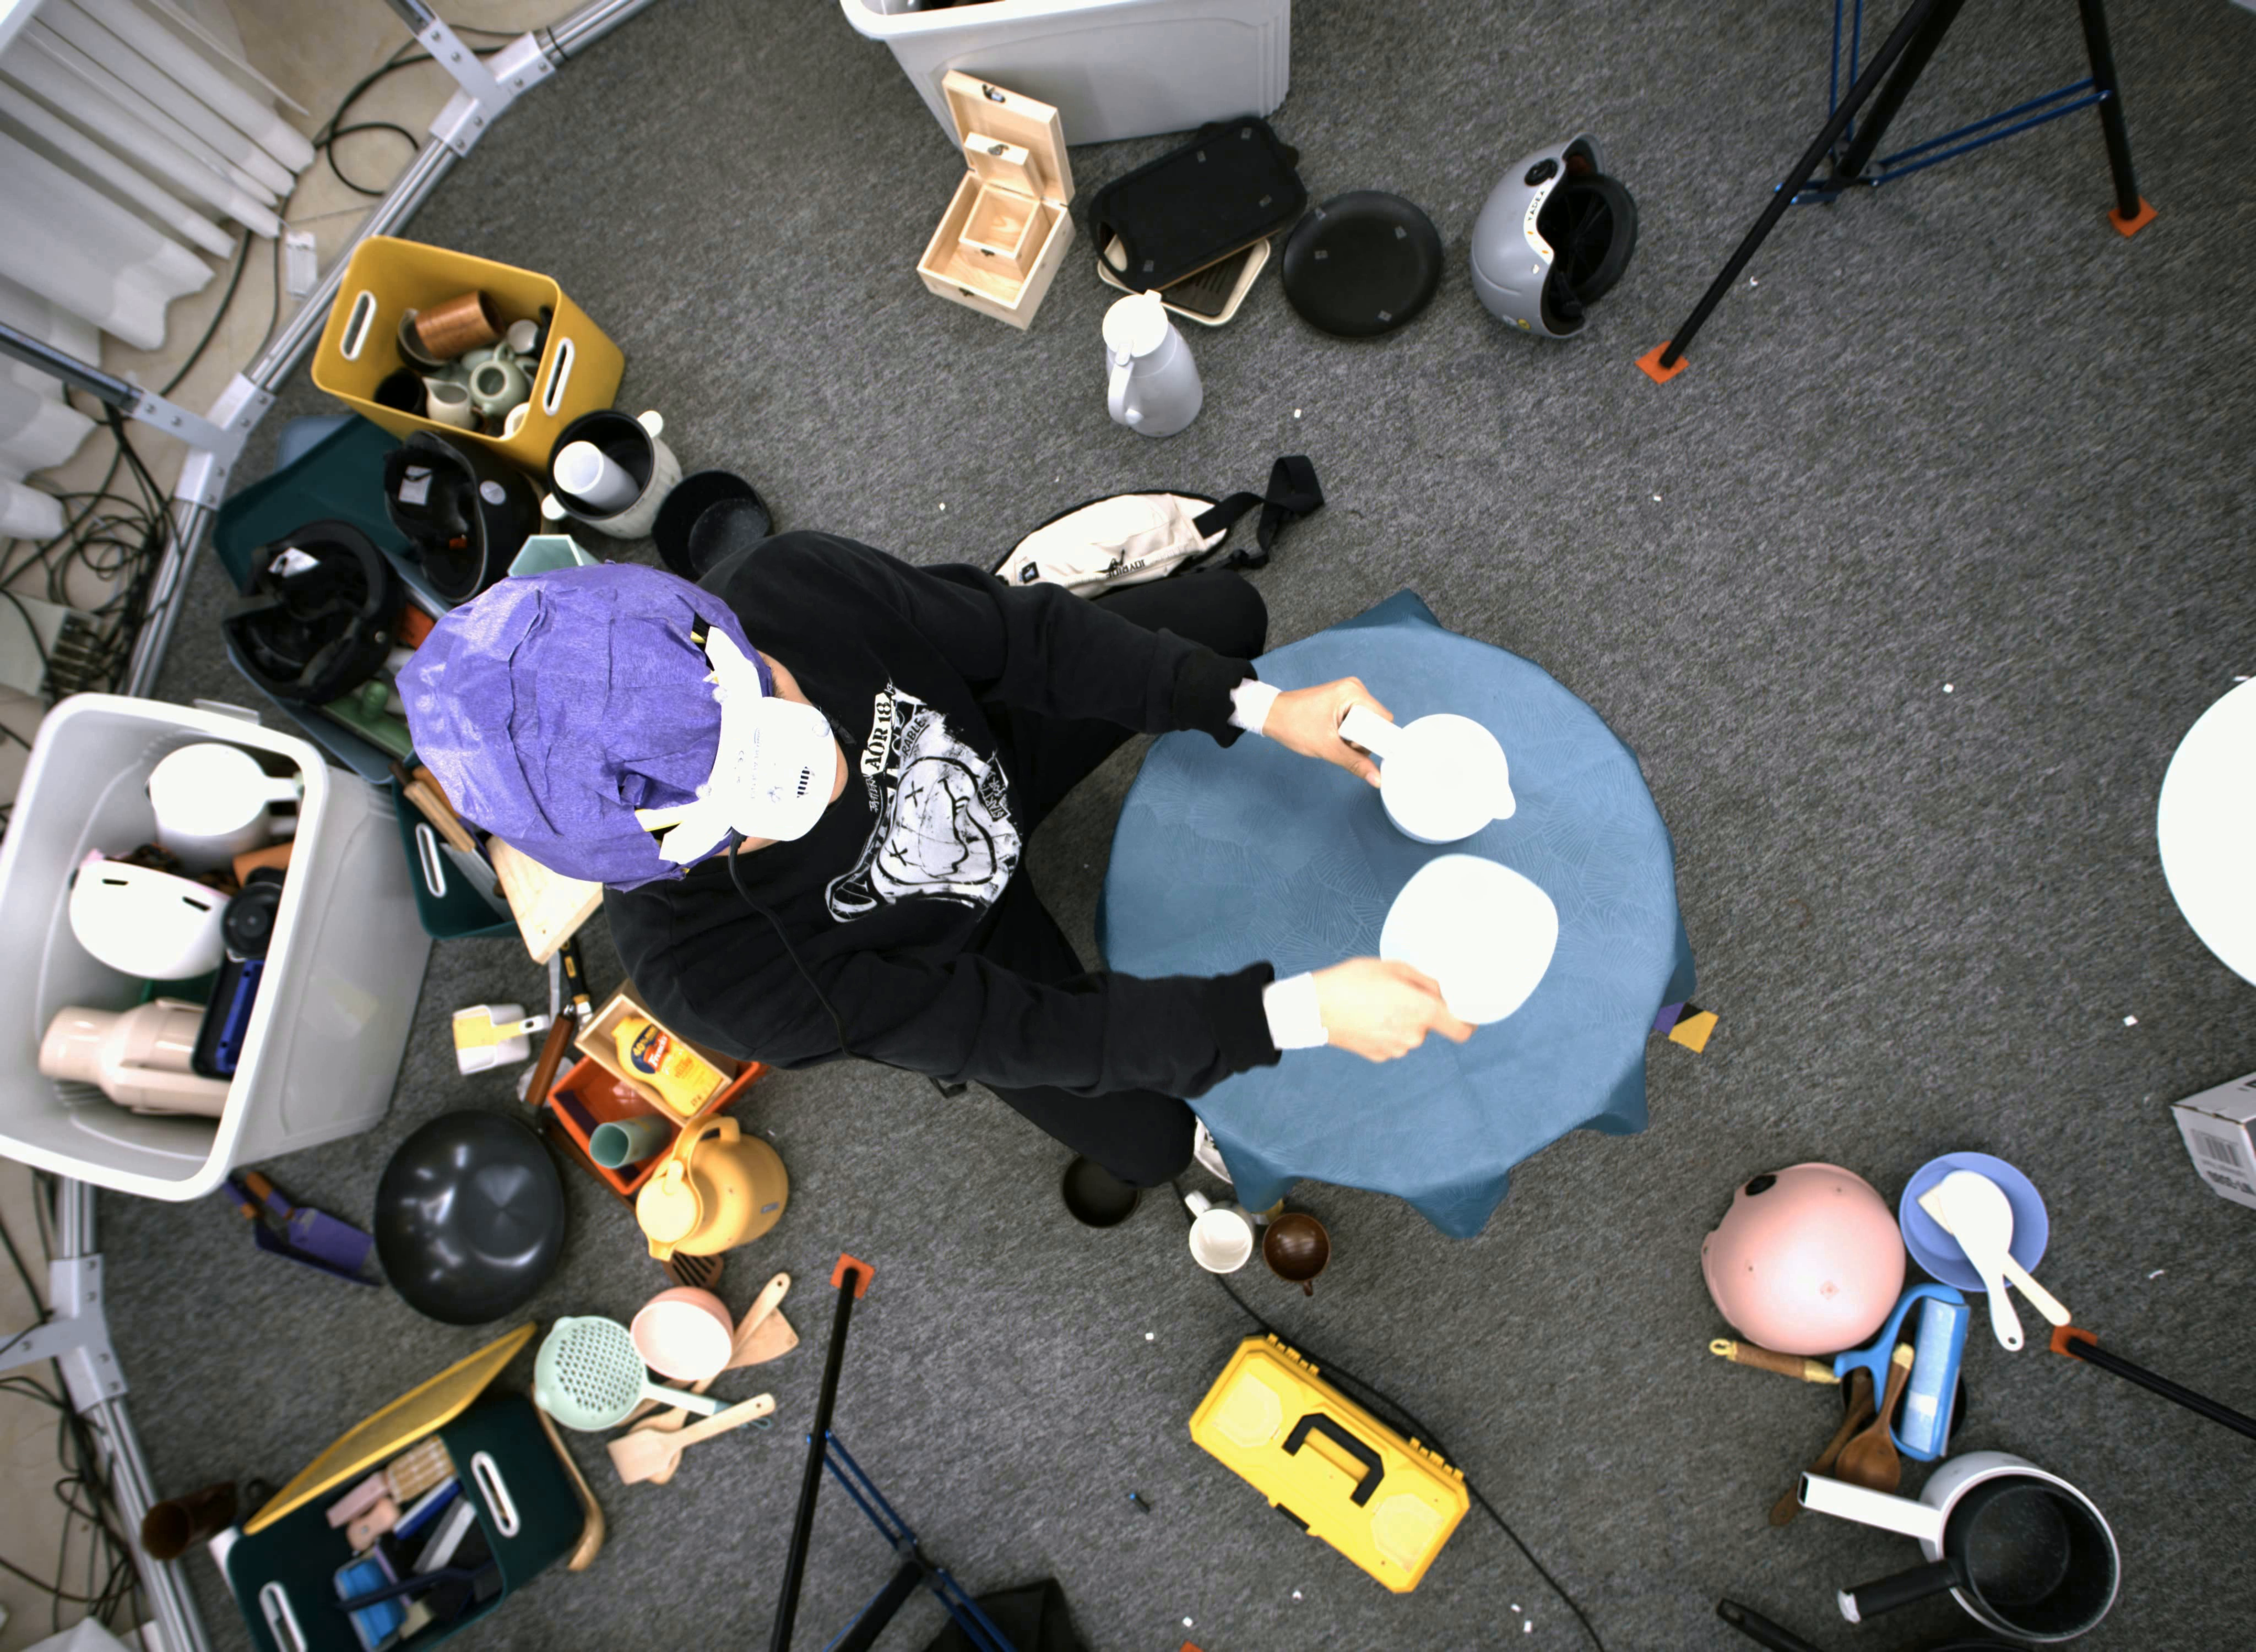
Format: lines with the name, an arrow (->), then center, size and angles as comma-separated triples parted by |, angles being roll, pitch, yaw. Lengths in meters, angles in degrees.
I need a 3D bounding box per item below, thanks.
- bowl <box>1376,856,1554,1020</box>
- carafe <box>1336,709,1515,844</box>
bowl -> 0.292, 0.102, 1.192 | 0.152, 0.059, 0.148 | -8, 64, 16
carafe -> 0.284, -0.051, 1.326 | 0.172, 0.267, 0.124 | 30, 97, 10
